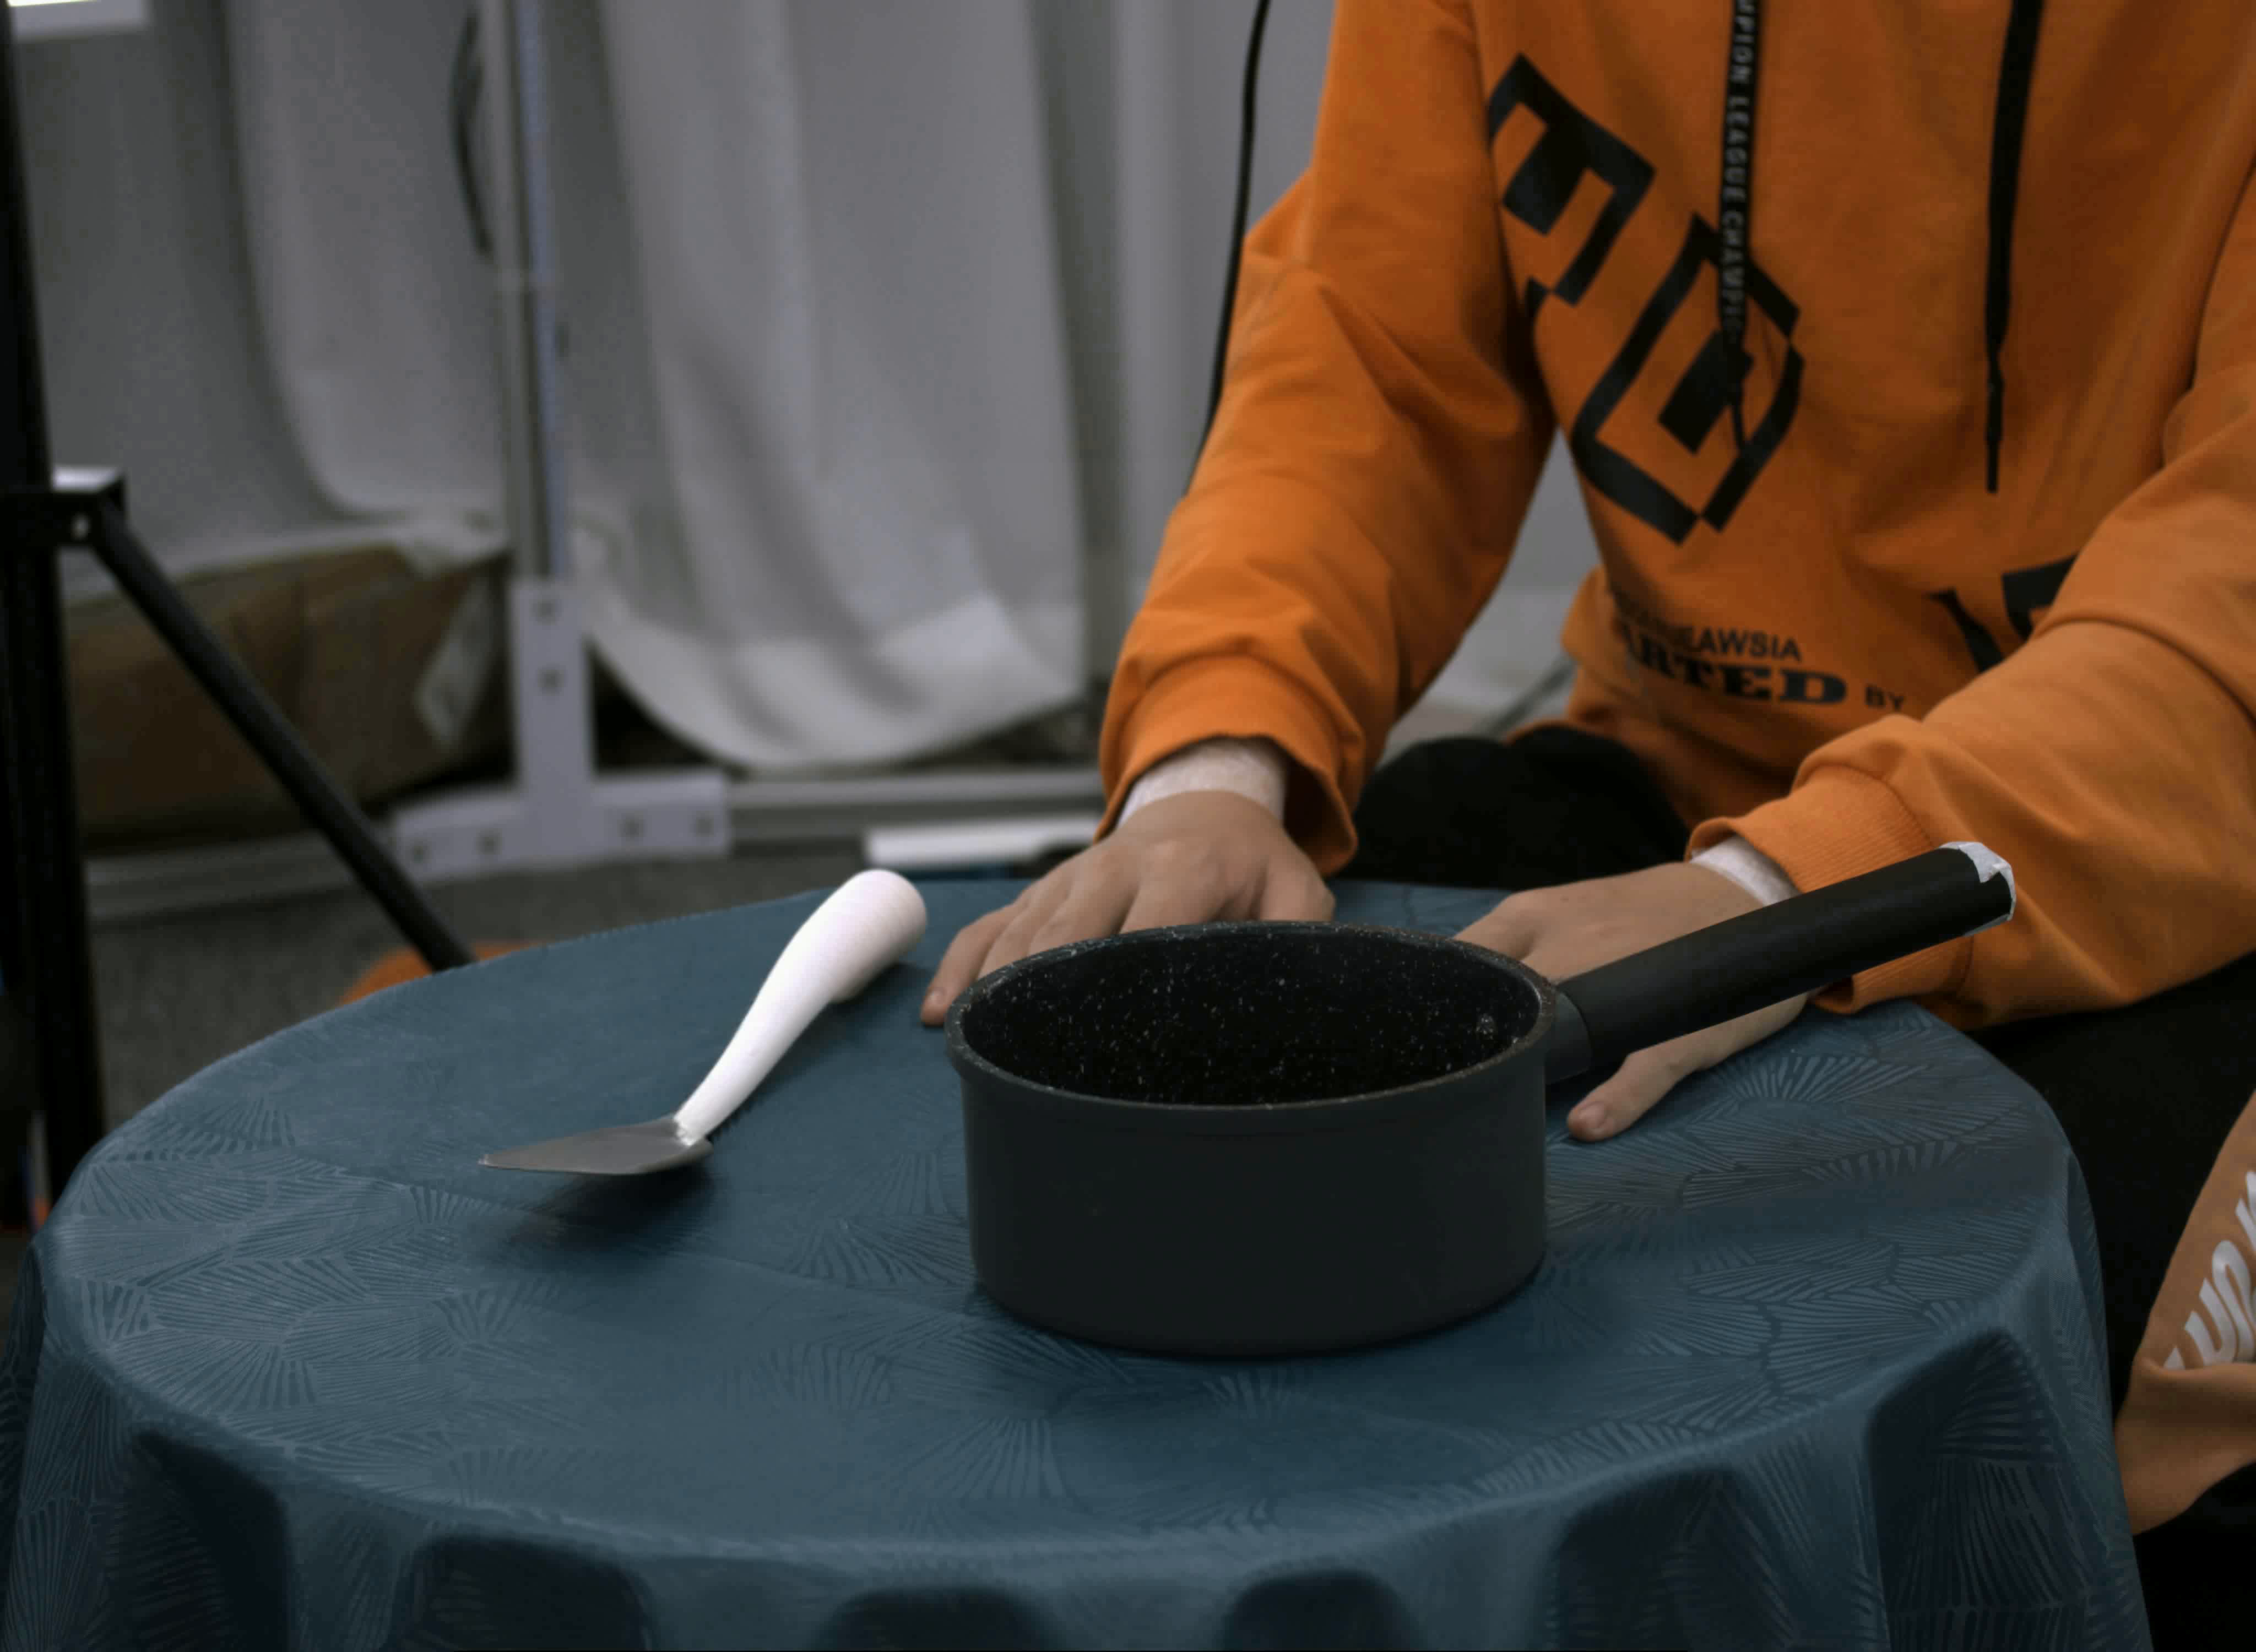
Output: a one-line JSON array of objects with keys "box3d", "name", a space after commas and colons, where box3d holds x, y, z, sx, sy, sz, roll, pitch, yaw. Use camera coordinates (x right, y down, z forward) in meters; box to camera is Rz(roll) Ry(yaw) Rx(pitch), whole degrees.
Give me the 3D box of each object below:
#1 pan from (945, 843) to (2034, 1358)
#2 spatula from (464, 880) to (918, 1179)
[{"box3d": [0.109, 0.073, 1.509, 0.323, 0.086, 0.175, -10, 18, -18], "name": "pan"}, {"box3d": [-0.125, 0.070, 1.655, 0.059, 0.032, 0.285, 7, 17, 16], "name": "spatula"}]
